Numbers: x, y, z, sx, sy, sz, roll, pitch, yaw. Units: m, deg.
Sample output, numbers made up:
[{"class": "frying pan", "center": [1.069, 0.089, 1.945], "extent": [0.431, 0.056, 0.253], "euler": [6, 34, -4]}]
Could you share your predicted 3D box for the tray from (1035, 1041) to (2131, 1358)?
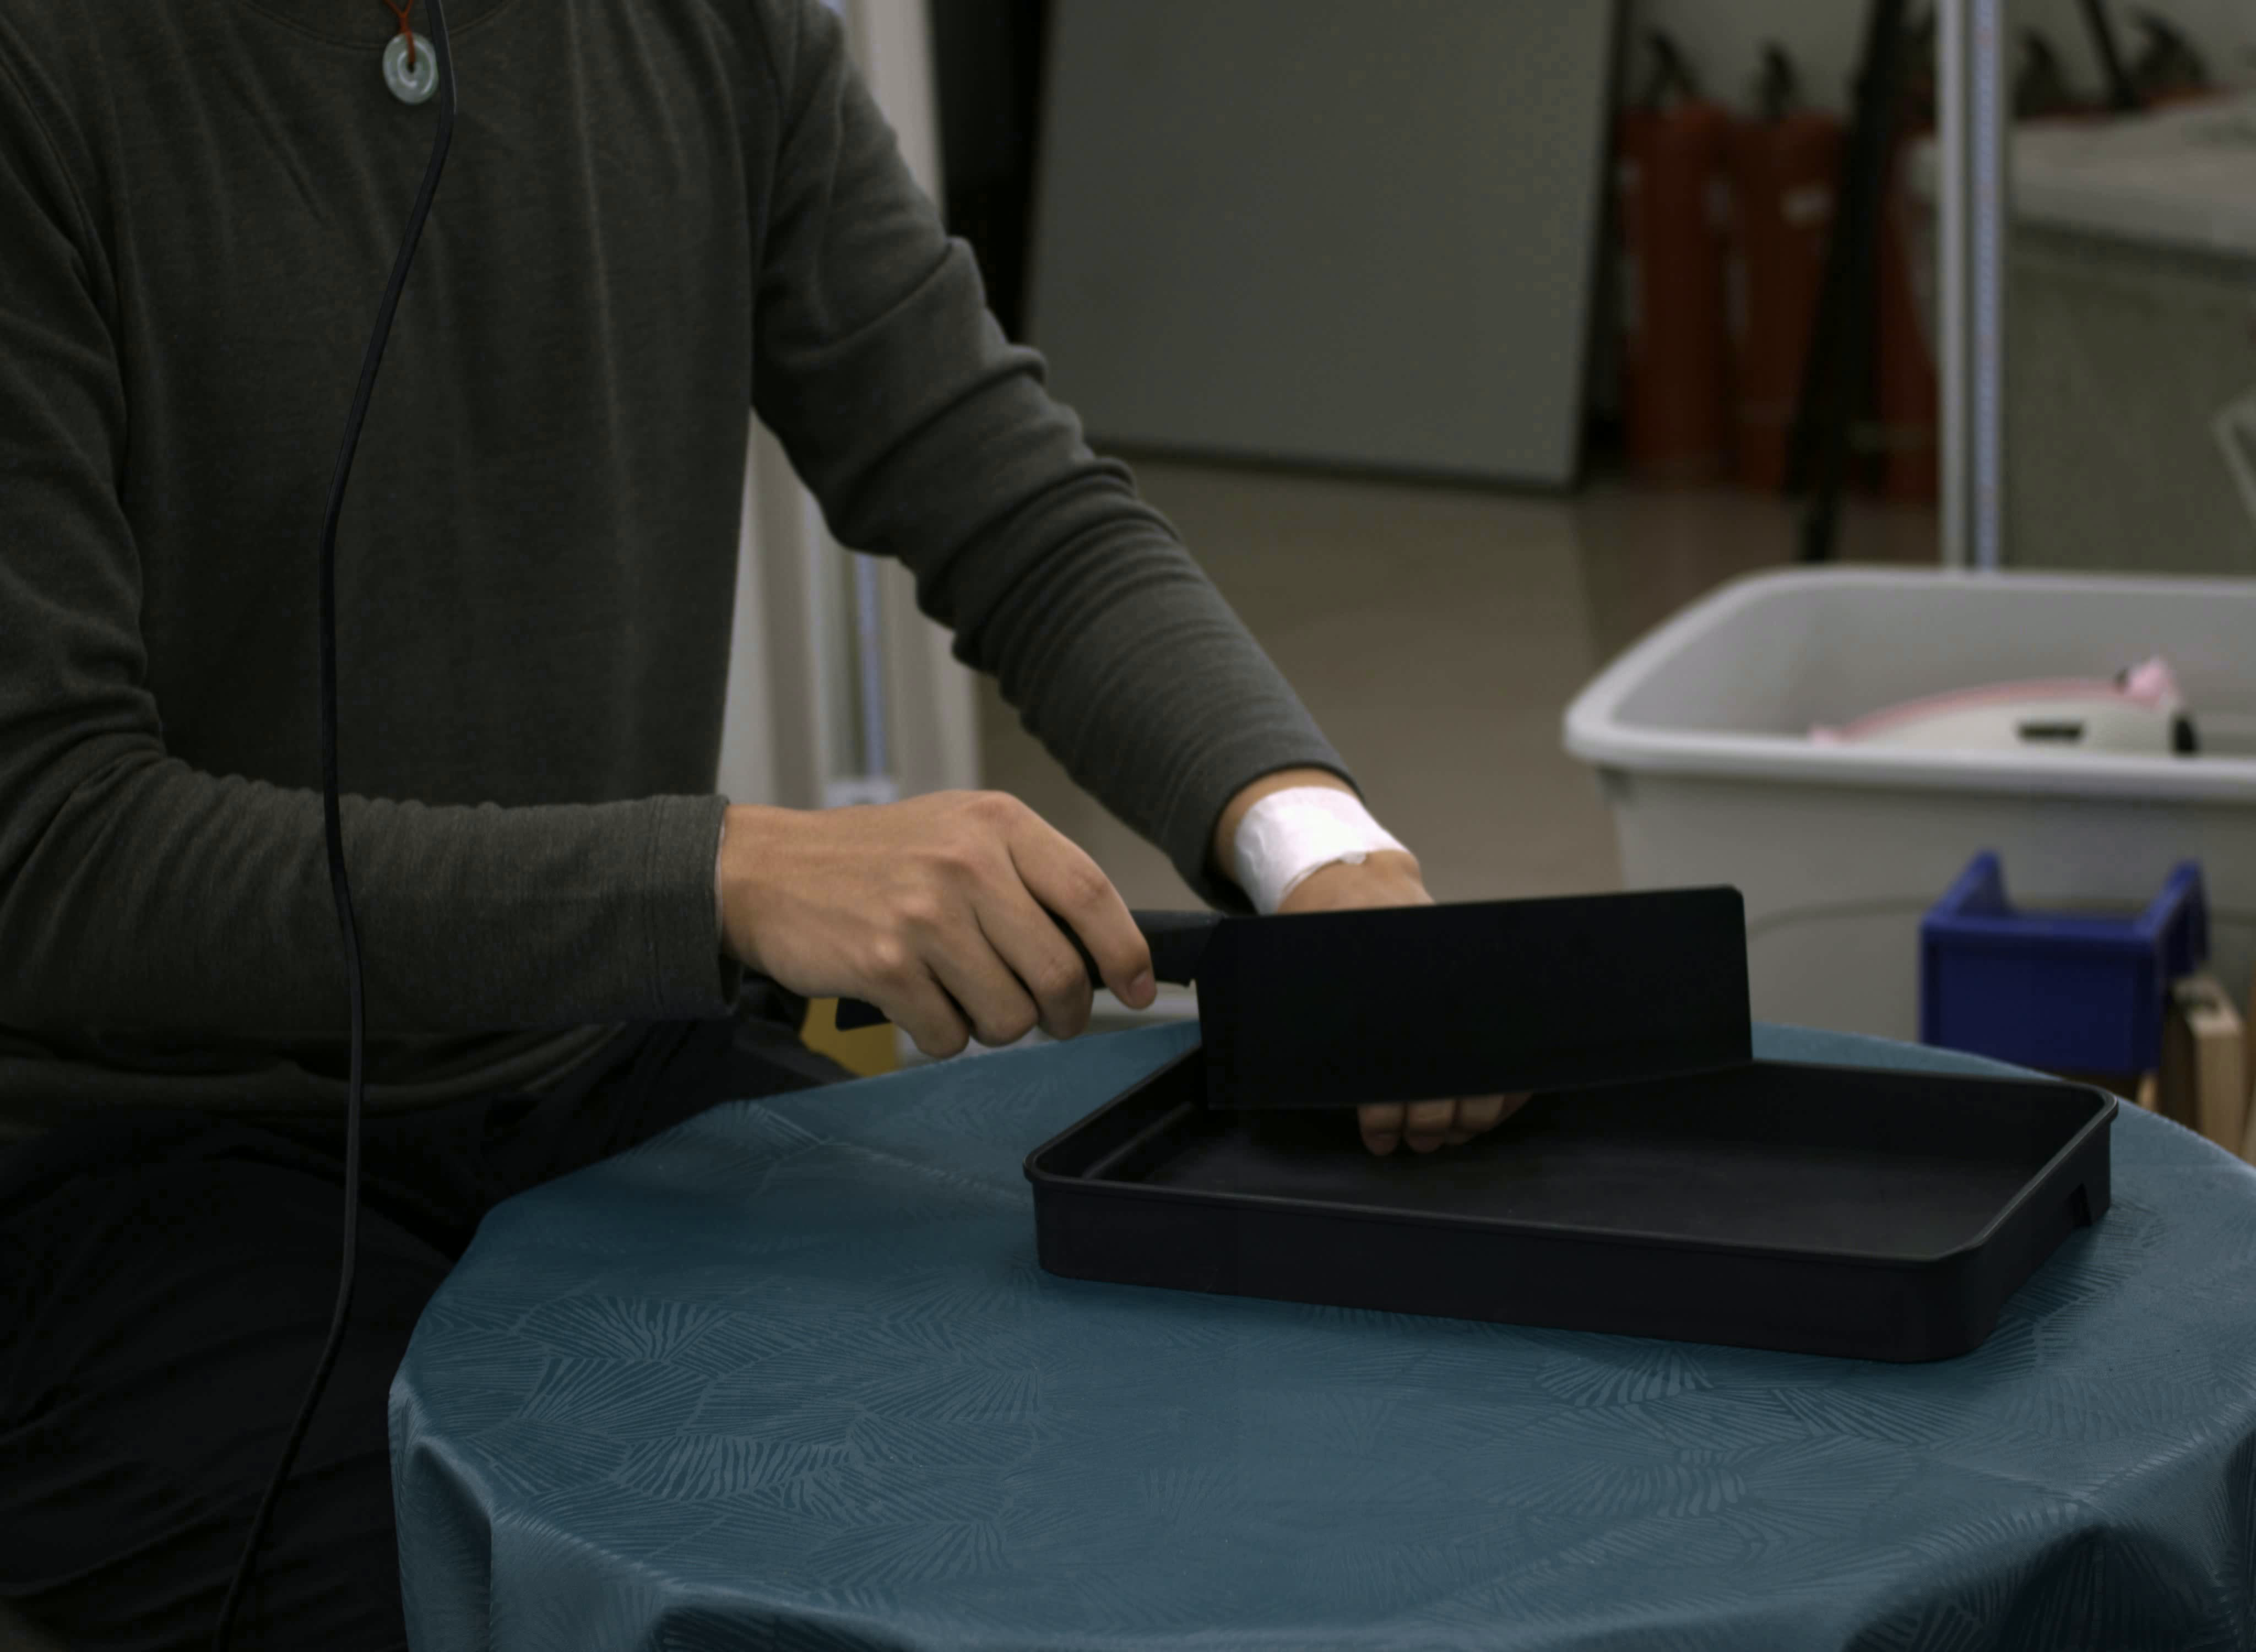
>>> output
[{"class": "tray", "center": [0.144, 0.111, 1.695], "extent": [0.318, 0.037, 0.182], "euler": [3, 15, 26]}]

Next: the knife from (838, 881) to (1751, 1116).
[{"class": "knife", "center": [0.053, 0.056, 1.752], "extent": [0.300, 0.082, 0.021], "euler": [0, 12, 9]}]
